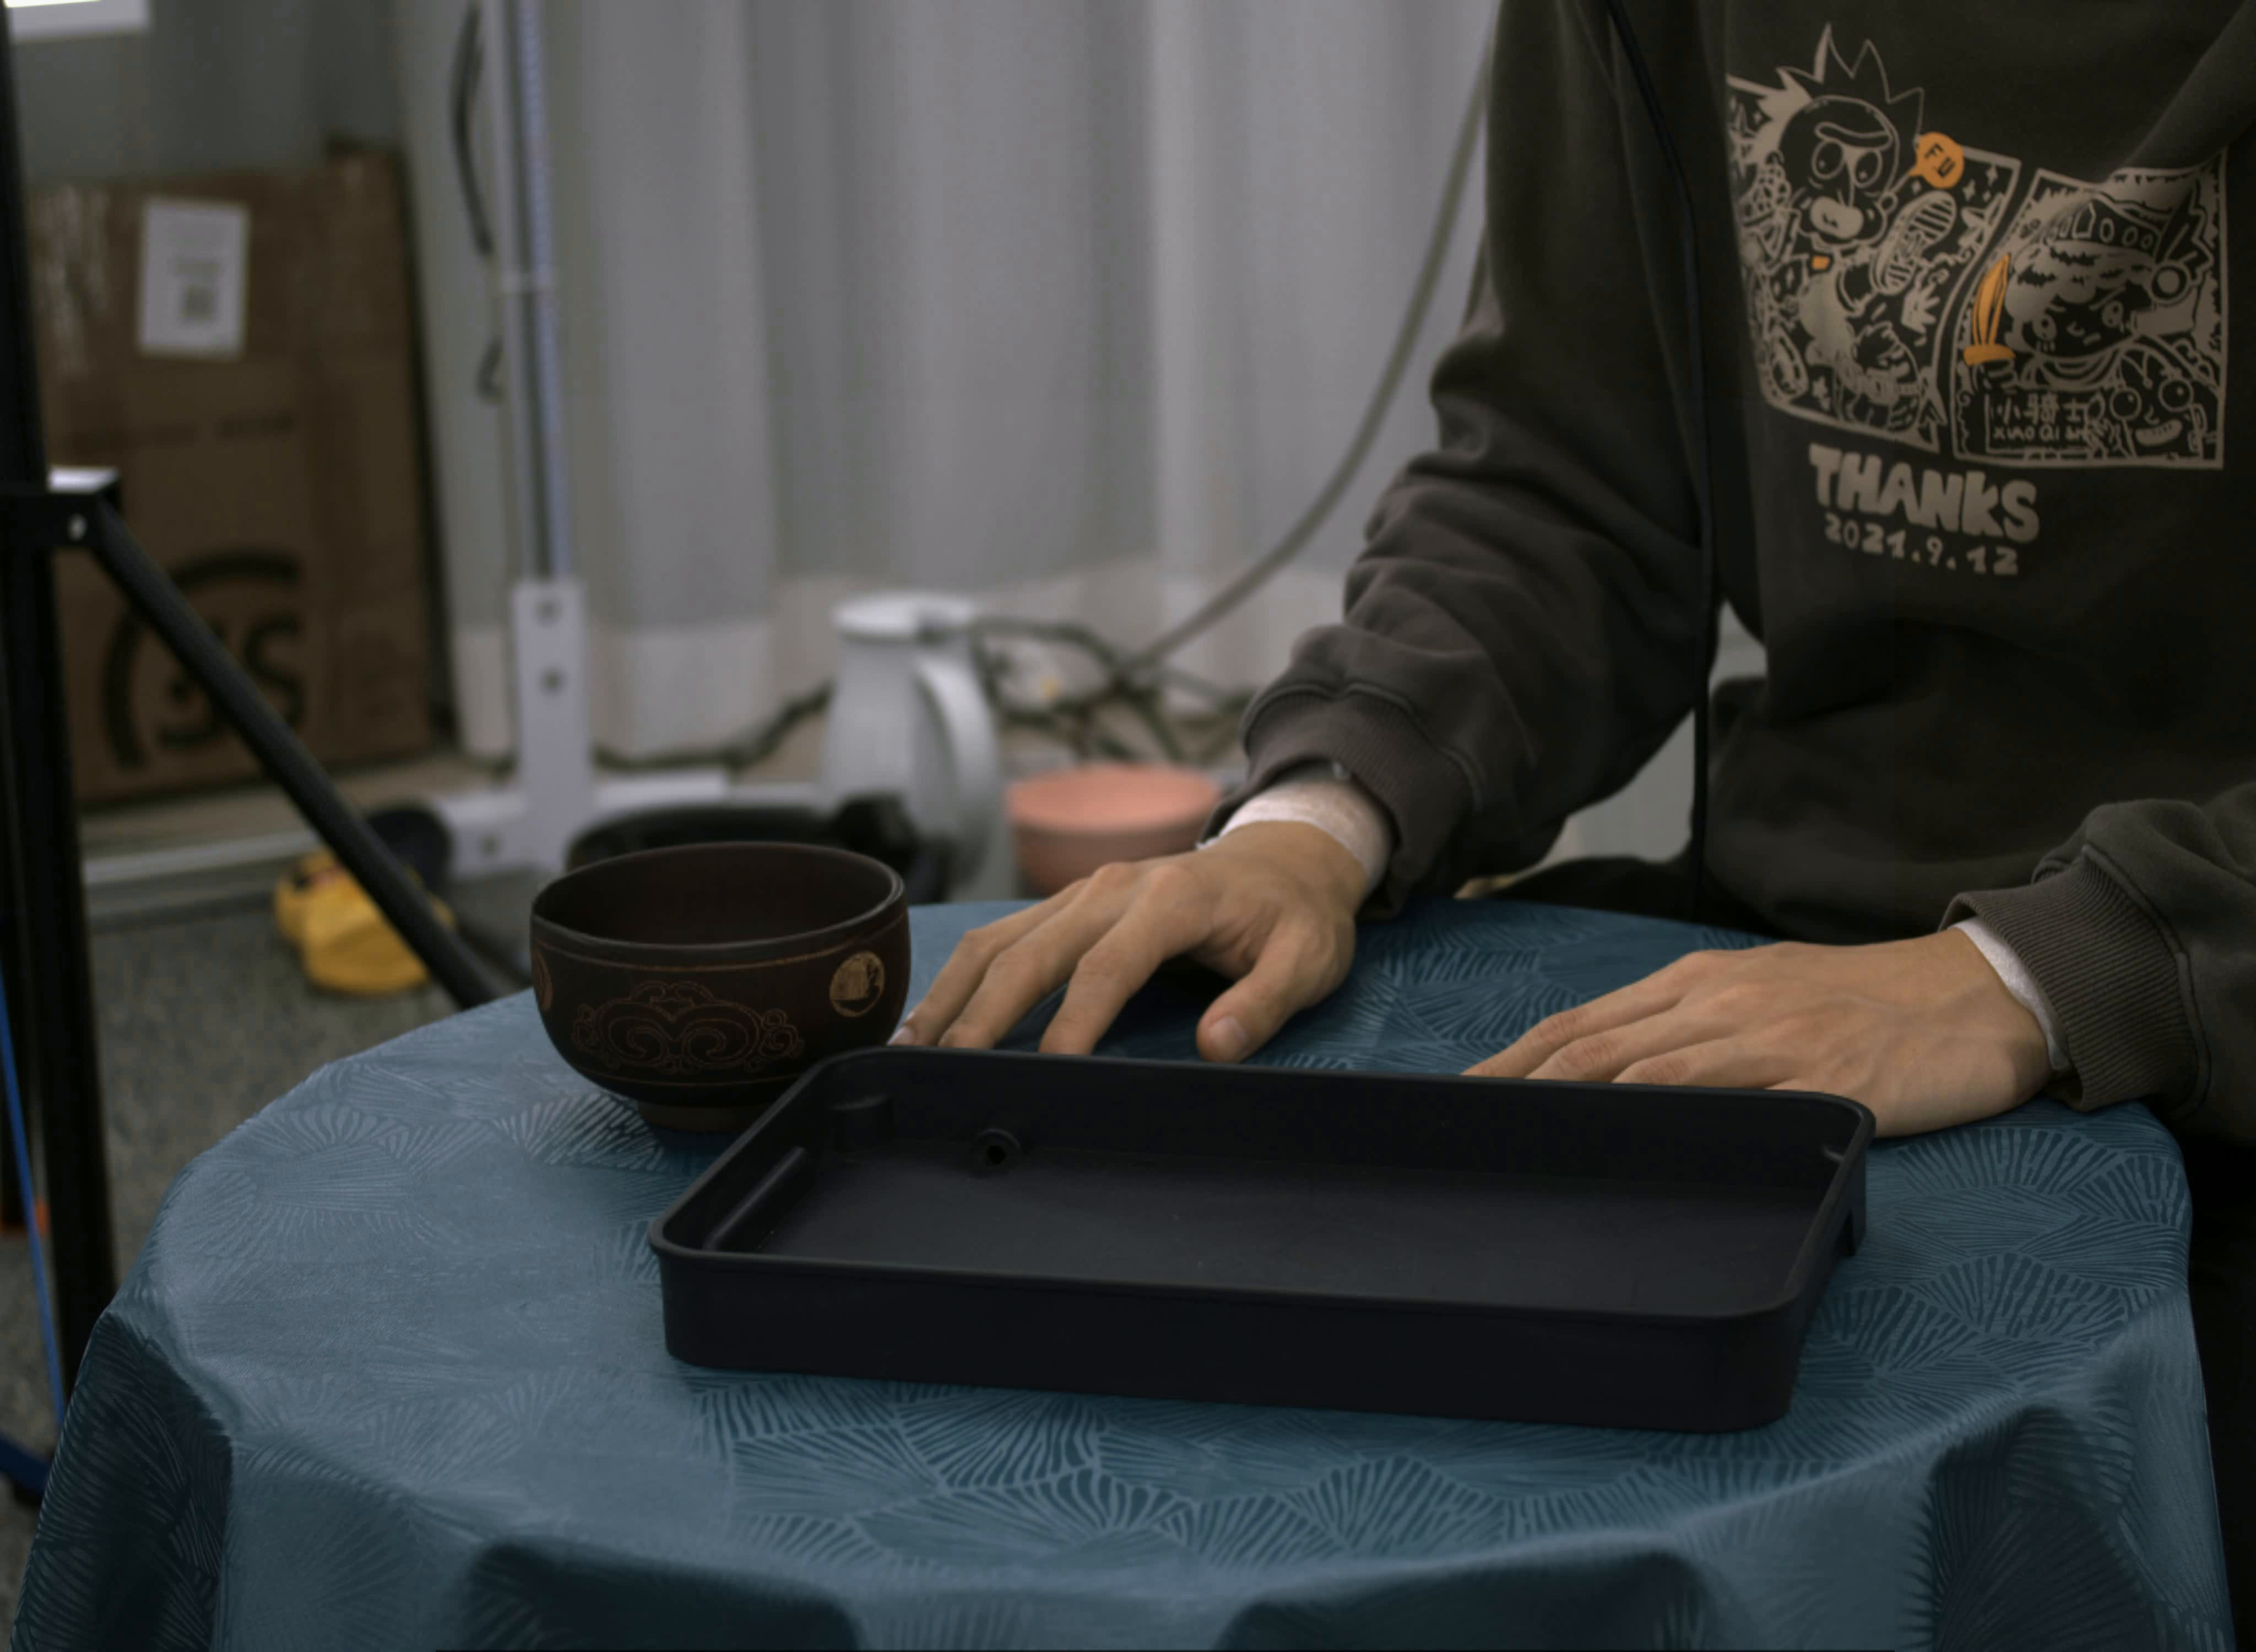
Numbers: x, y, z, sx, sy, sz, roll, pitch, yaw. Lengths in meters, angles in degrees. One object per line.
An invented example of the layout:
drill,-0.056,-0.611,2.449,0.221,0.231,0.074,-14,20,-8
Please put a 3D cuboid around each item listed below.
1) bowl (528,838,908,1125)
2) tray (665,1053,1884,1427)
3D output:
bowl,-0.126,0.051,1.652,0.117,0.070,0.118,-2,15,-1
tray,0.045,0.112,1.475,0.320,0.037,0.183,1,16,15
